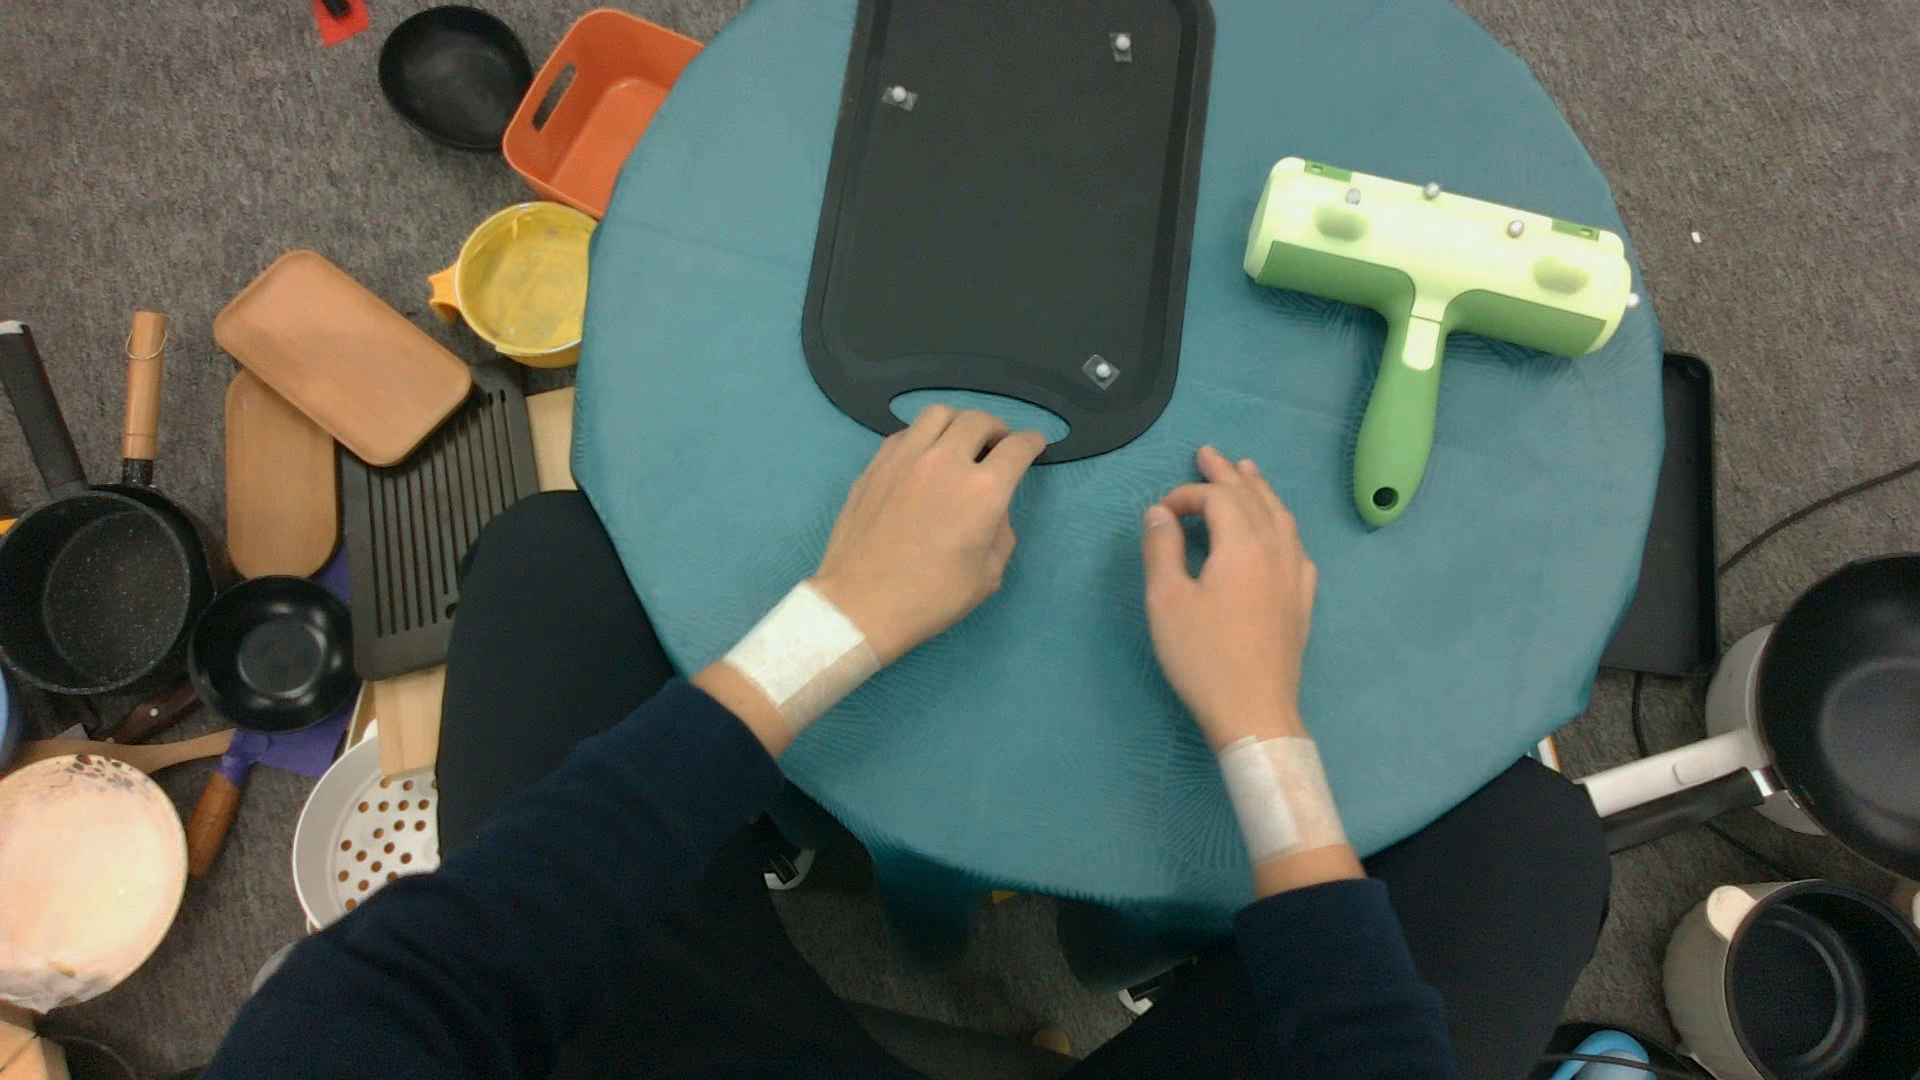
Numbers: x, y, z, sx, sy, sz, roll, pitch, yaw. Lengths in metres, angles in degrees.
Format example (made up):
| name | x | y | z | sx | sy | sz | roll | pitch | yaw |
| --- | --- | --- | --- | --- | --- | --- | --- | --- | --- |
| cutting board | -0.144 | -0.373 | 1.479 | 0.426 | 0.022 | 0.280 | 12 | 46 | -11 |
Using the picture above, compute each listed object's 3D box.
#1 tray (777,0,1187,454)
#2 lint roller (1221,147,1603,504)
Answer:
| name | x | y | z | sx | sy | sz | roll | pitch | yaw |
| --- | --- | --- | --- | --- | --- | --- | --- | --- | --- |
| tray | 0.016 | -0.204 | 0.779 | 0.211 | 0.010 | 0.326 | 7 | 75 | 0 |
| lint roller | 0.233 | -0.114 | 0.724 | 0.198 | 0.082 | 0.184 | 12 | 69 | 2 |
